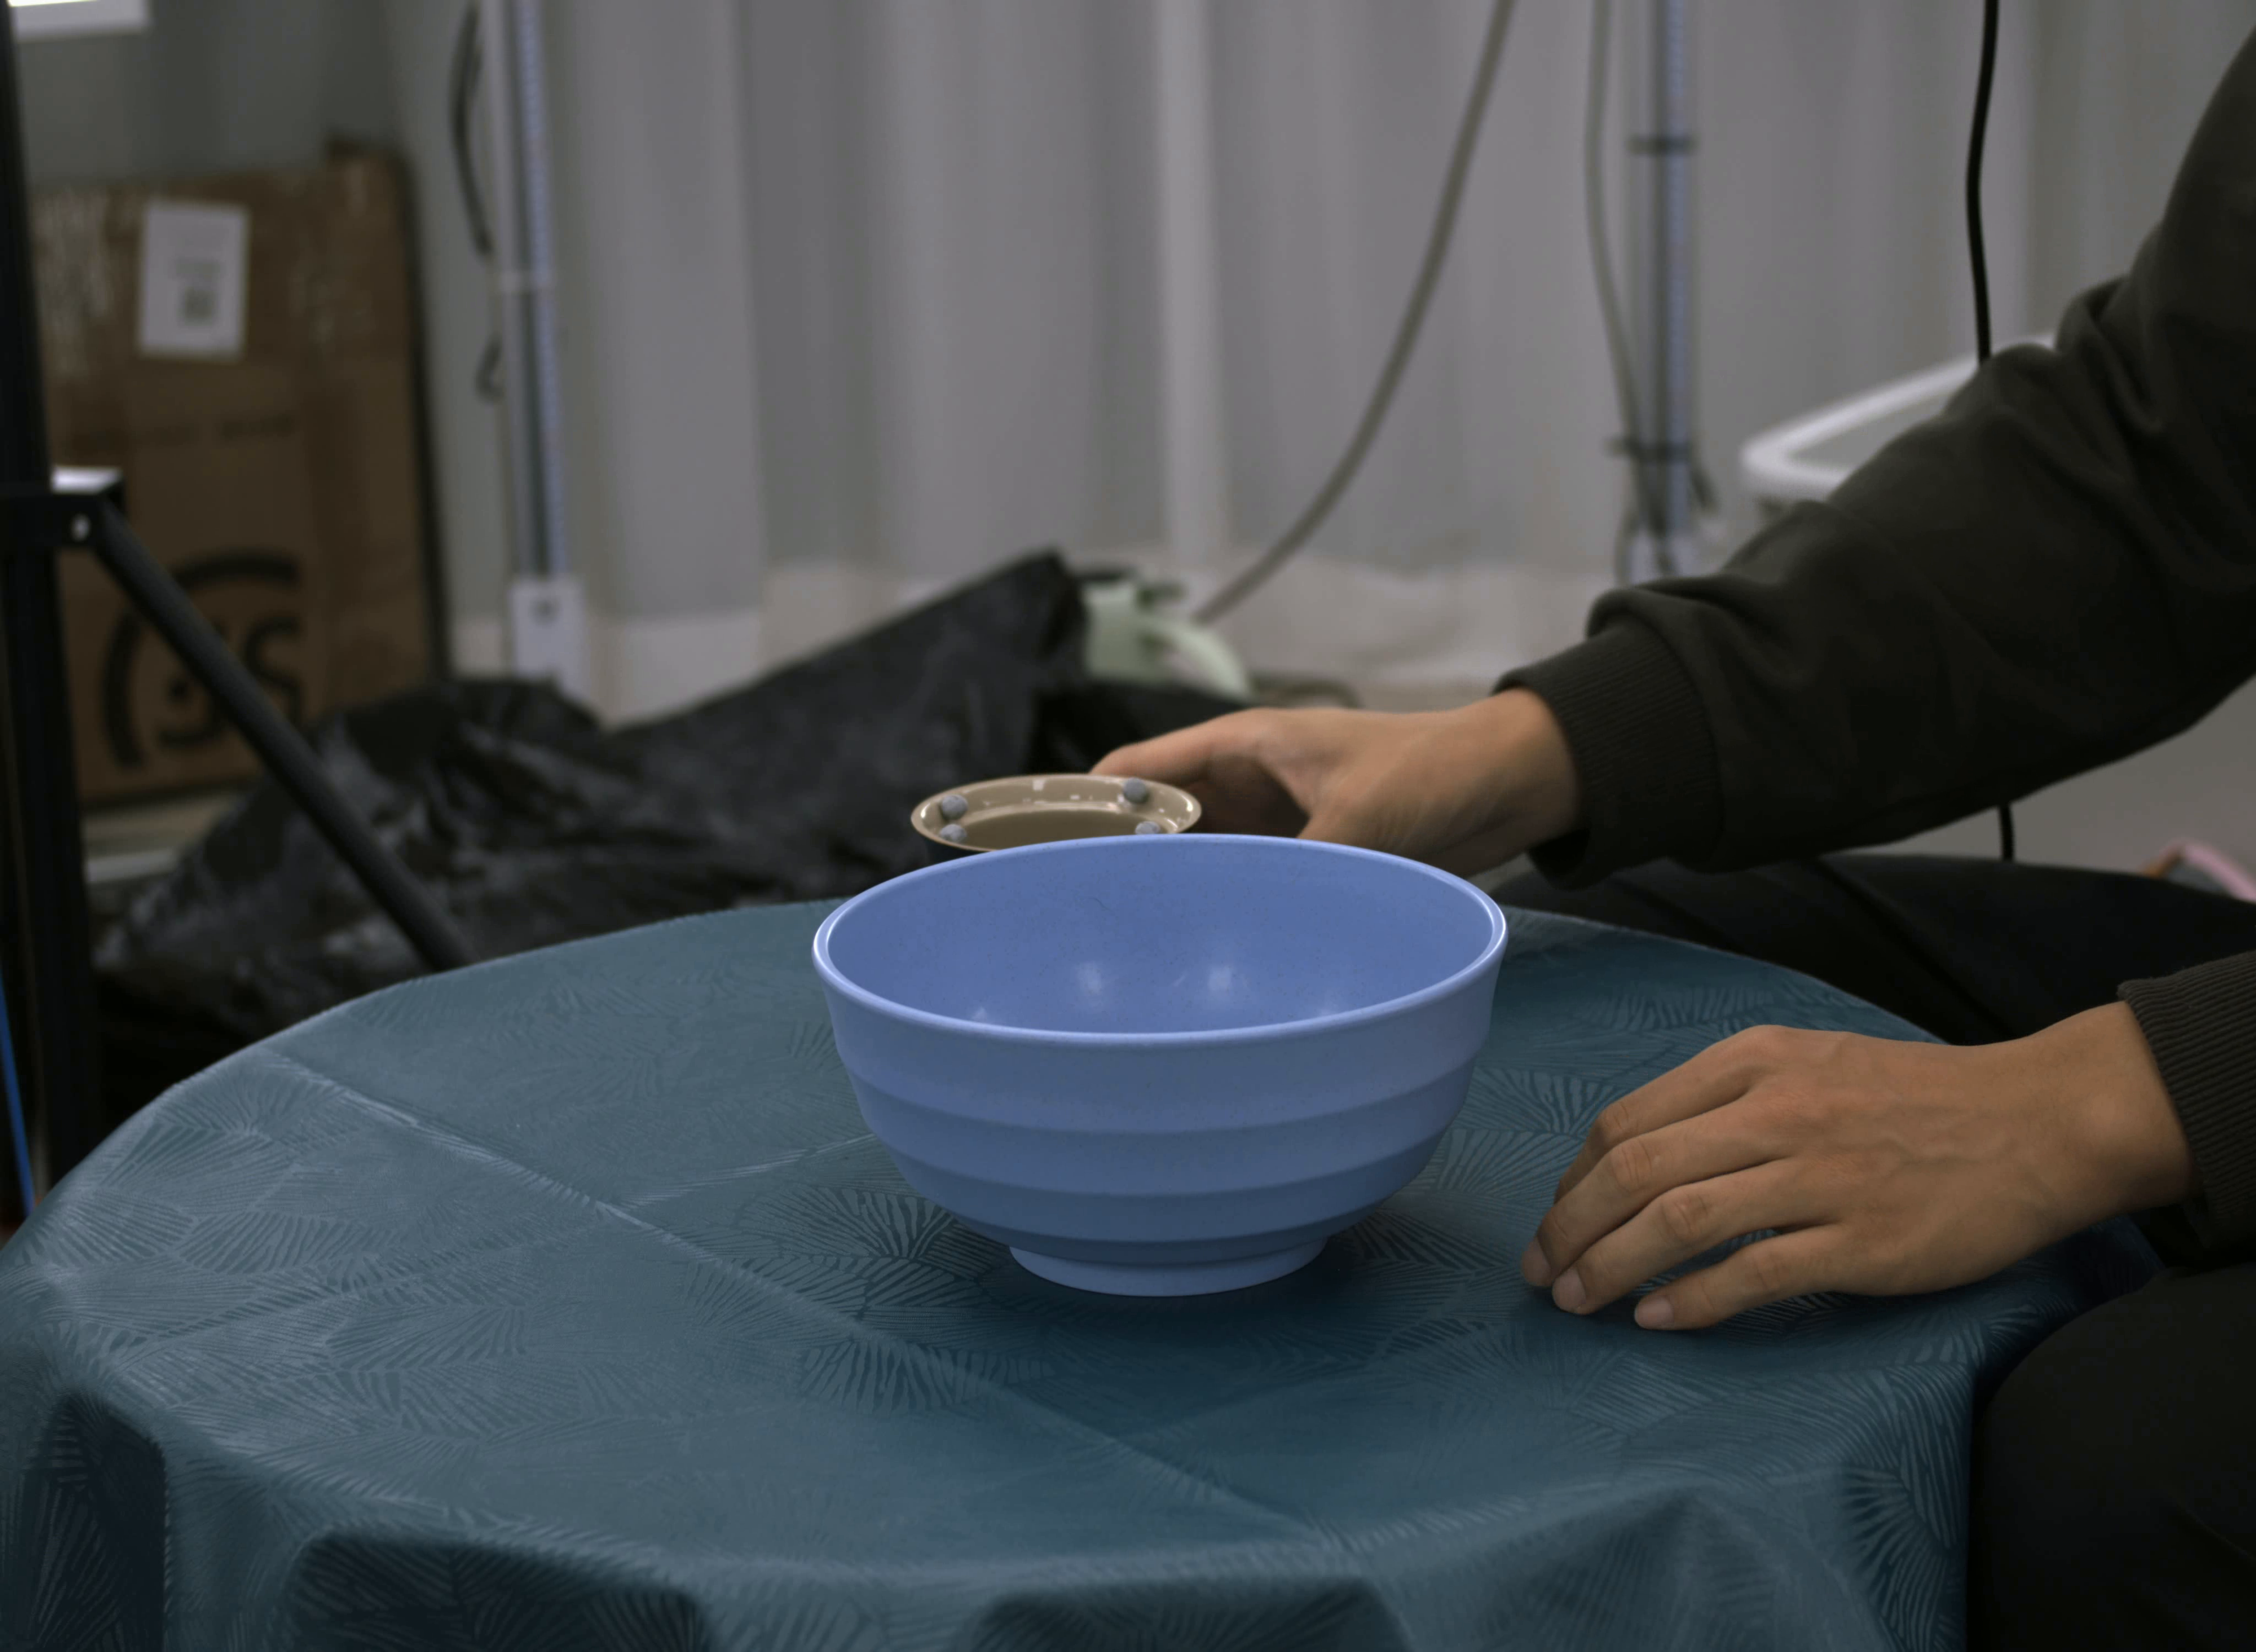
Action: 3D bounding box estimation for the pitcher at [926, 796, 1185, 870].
[{"bbox_3d":[-0.022,0.031,1.702,0.083,0.071,0.096,-1,15,-2],"label":"pitcher"}]

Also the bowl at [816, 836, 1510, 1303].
[{"bbox_3d":[0.010,0.075,1.509,0.195,0.095,0.197,-1,16,-1],"label":"bowl"}]
